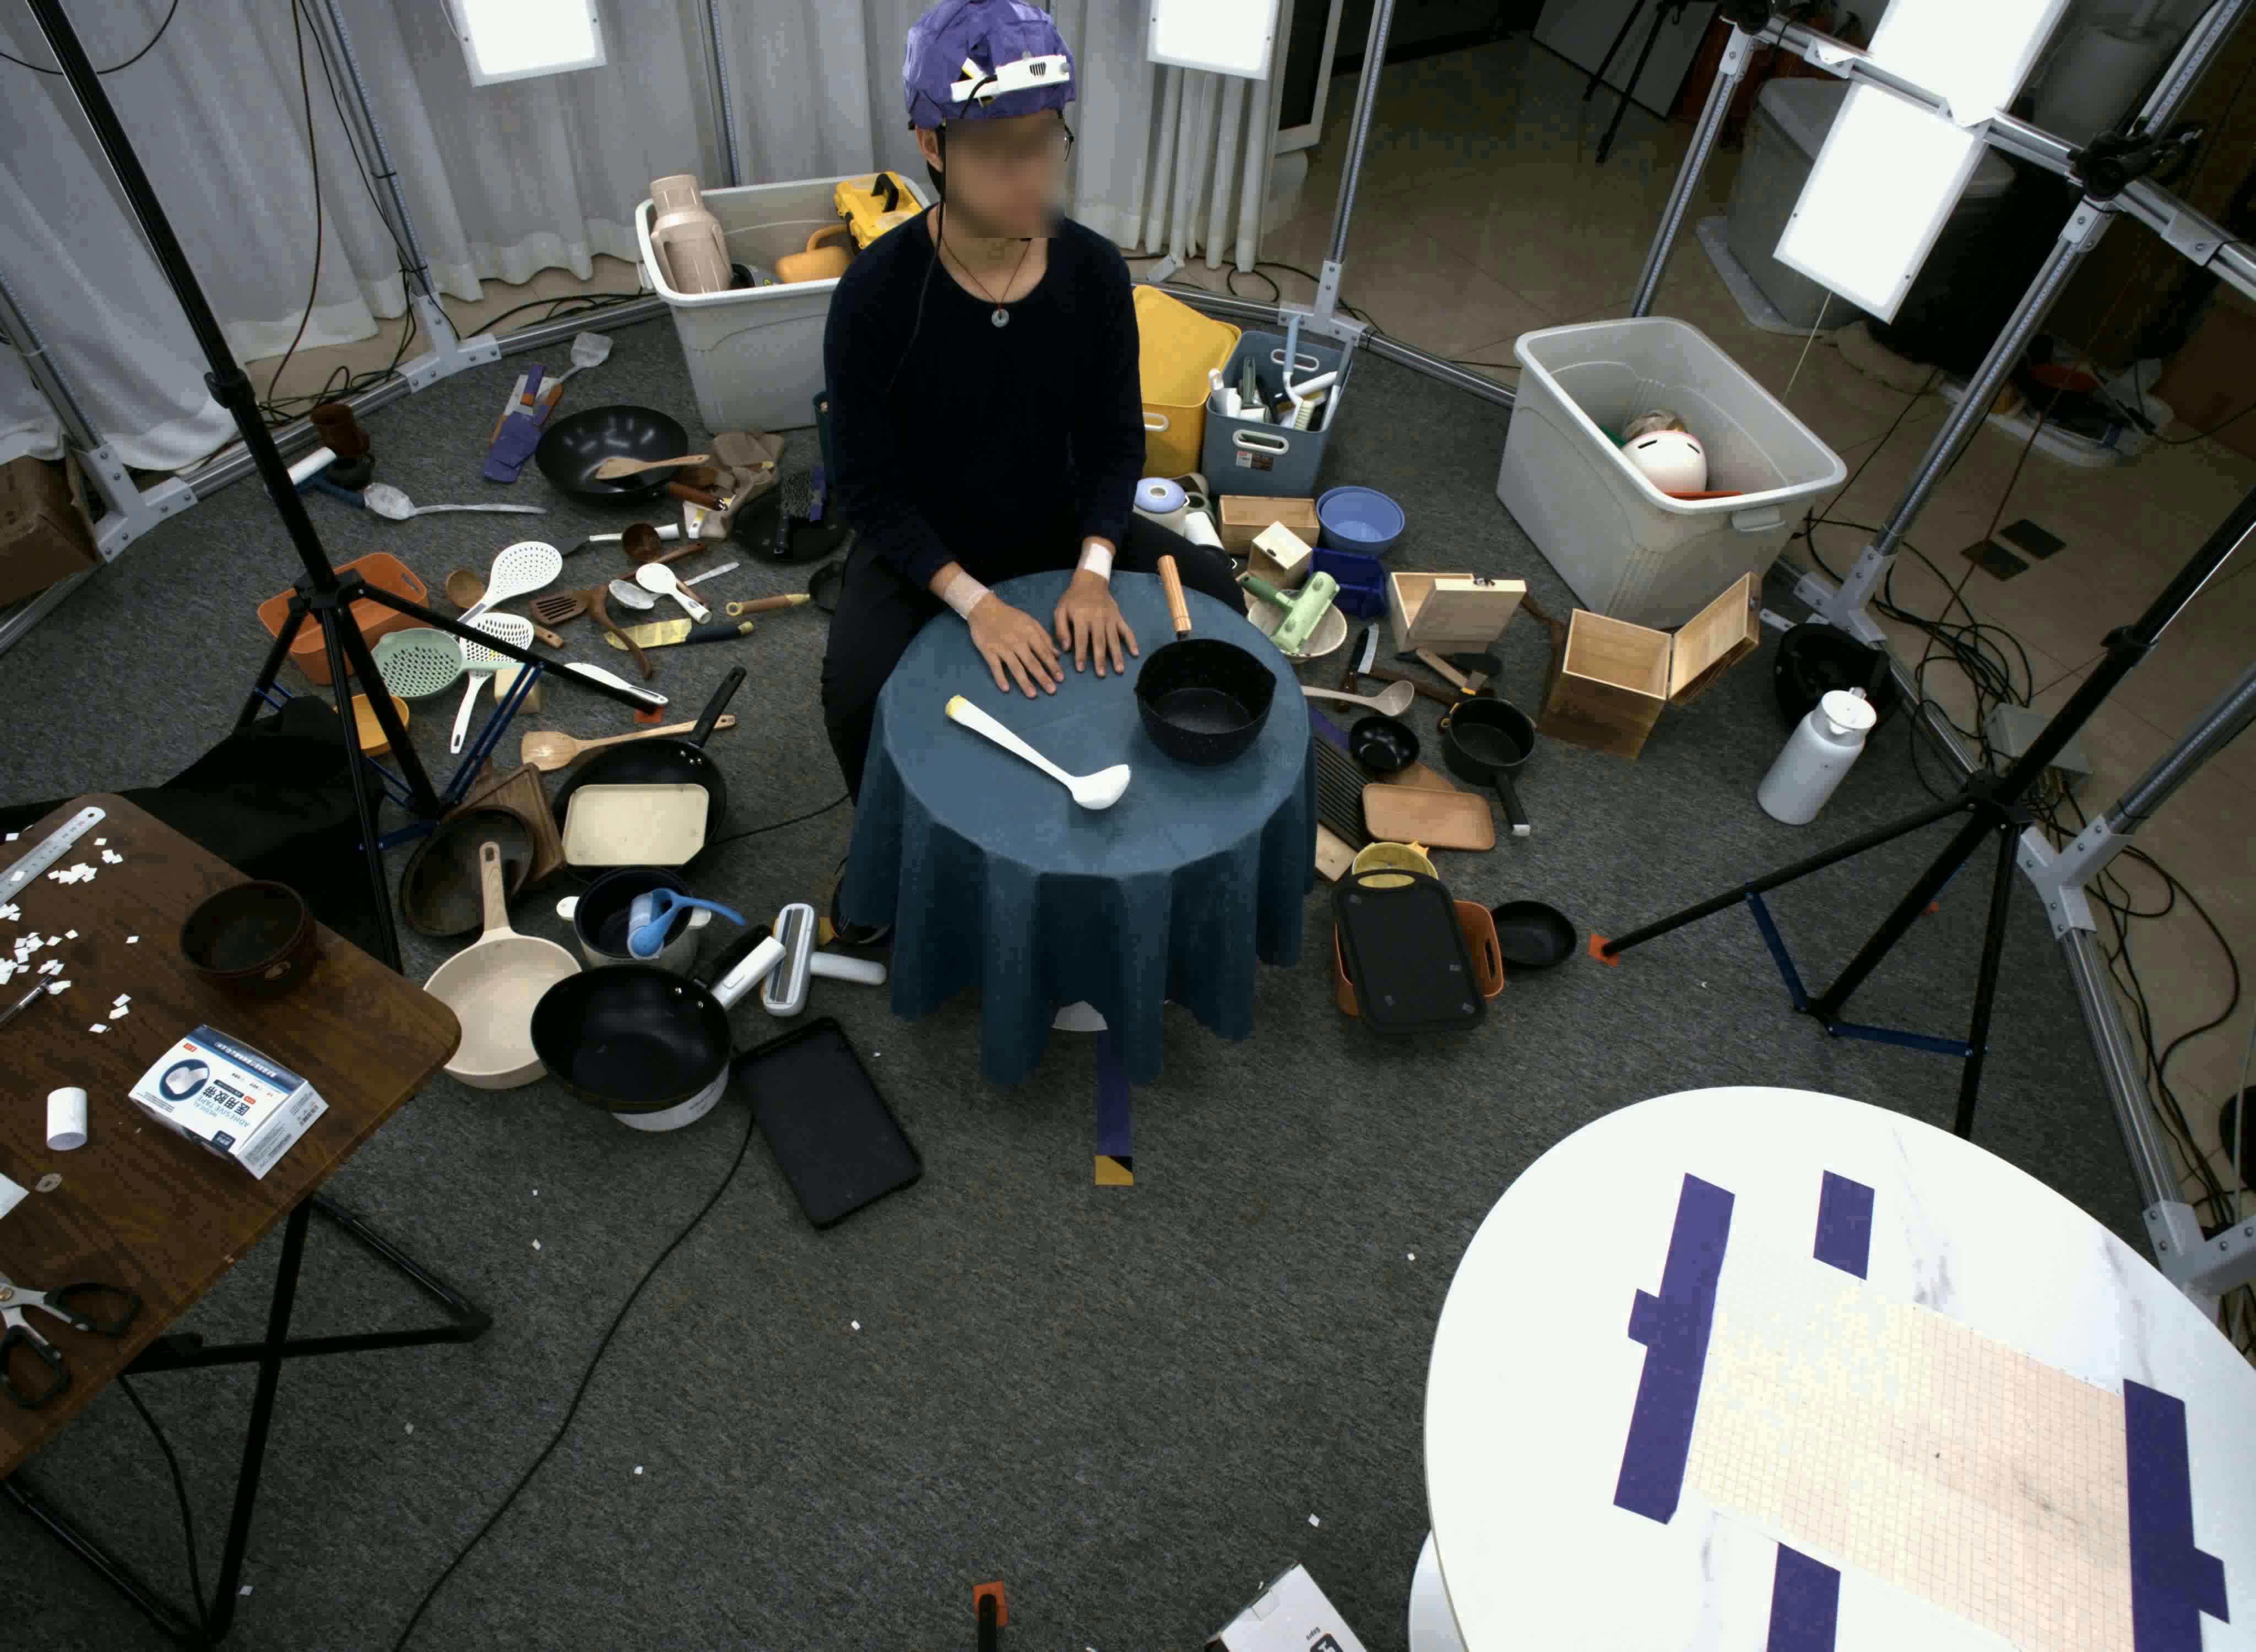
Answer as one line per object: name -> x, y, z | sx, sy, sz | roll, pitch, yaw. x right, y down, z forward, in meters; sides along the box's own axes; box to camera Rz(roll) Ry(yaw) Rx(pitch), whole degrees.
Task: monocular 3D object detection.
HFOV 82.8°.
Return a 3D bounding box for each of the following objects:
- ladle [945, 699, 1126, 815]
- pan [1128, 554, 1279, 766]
ladle -> -0.130, -0.101, 1.707 | 0.296, 0.068, 0.091 | 33, 59, 24
pan -> 0.086, -0.234, 1.808 | 0.207, 0.105, 0.351 | -9, 52, -10
